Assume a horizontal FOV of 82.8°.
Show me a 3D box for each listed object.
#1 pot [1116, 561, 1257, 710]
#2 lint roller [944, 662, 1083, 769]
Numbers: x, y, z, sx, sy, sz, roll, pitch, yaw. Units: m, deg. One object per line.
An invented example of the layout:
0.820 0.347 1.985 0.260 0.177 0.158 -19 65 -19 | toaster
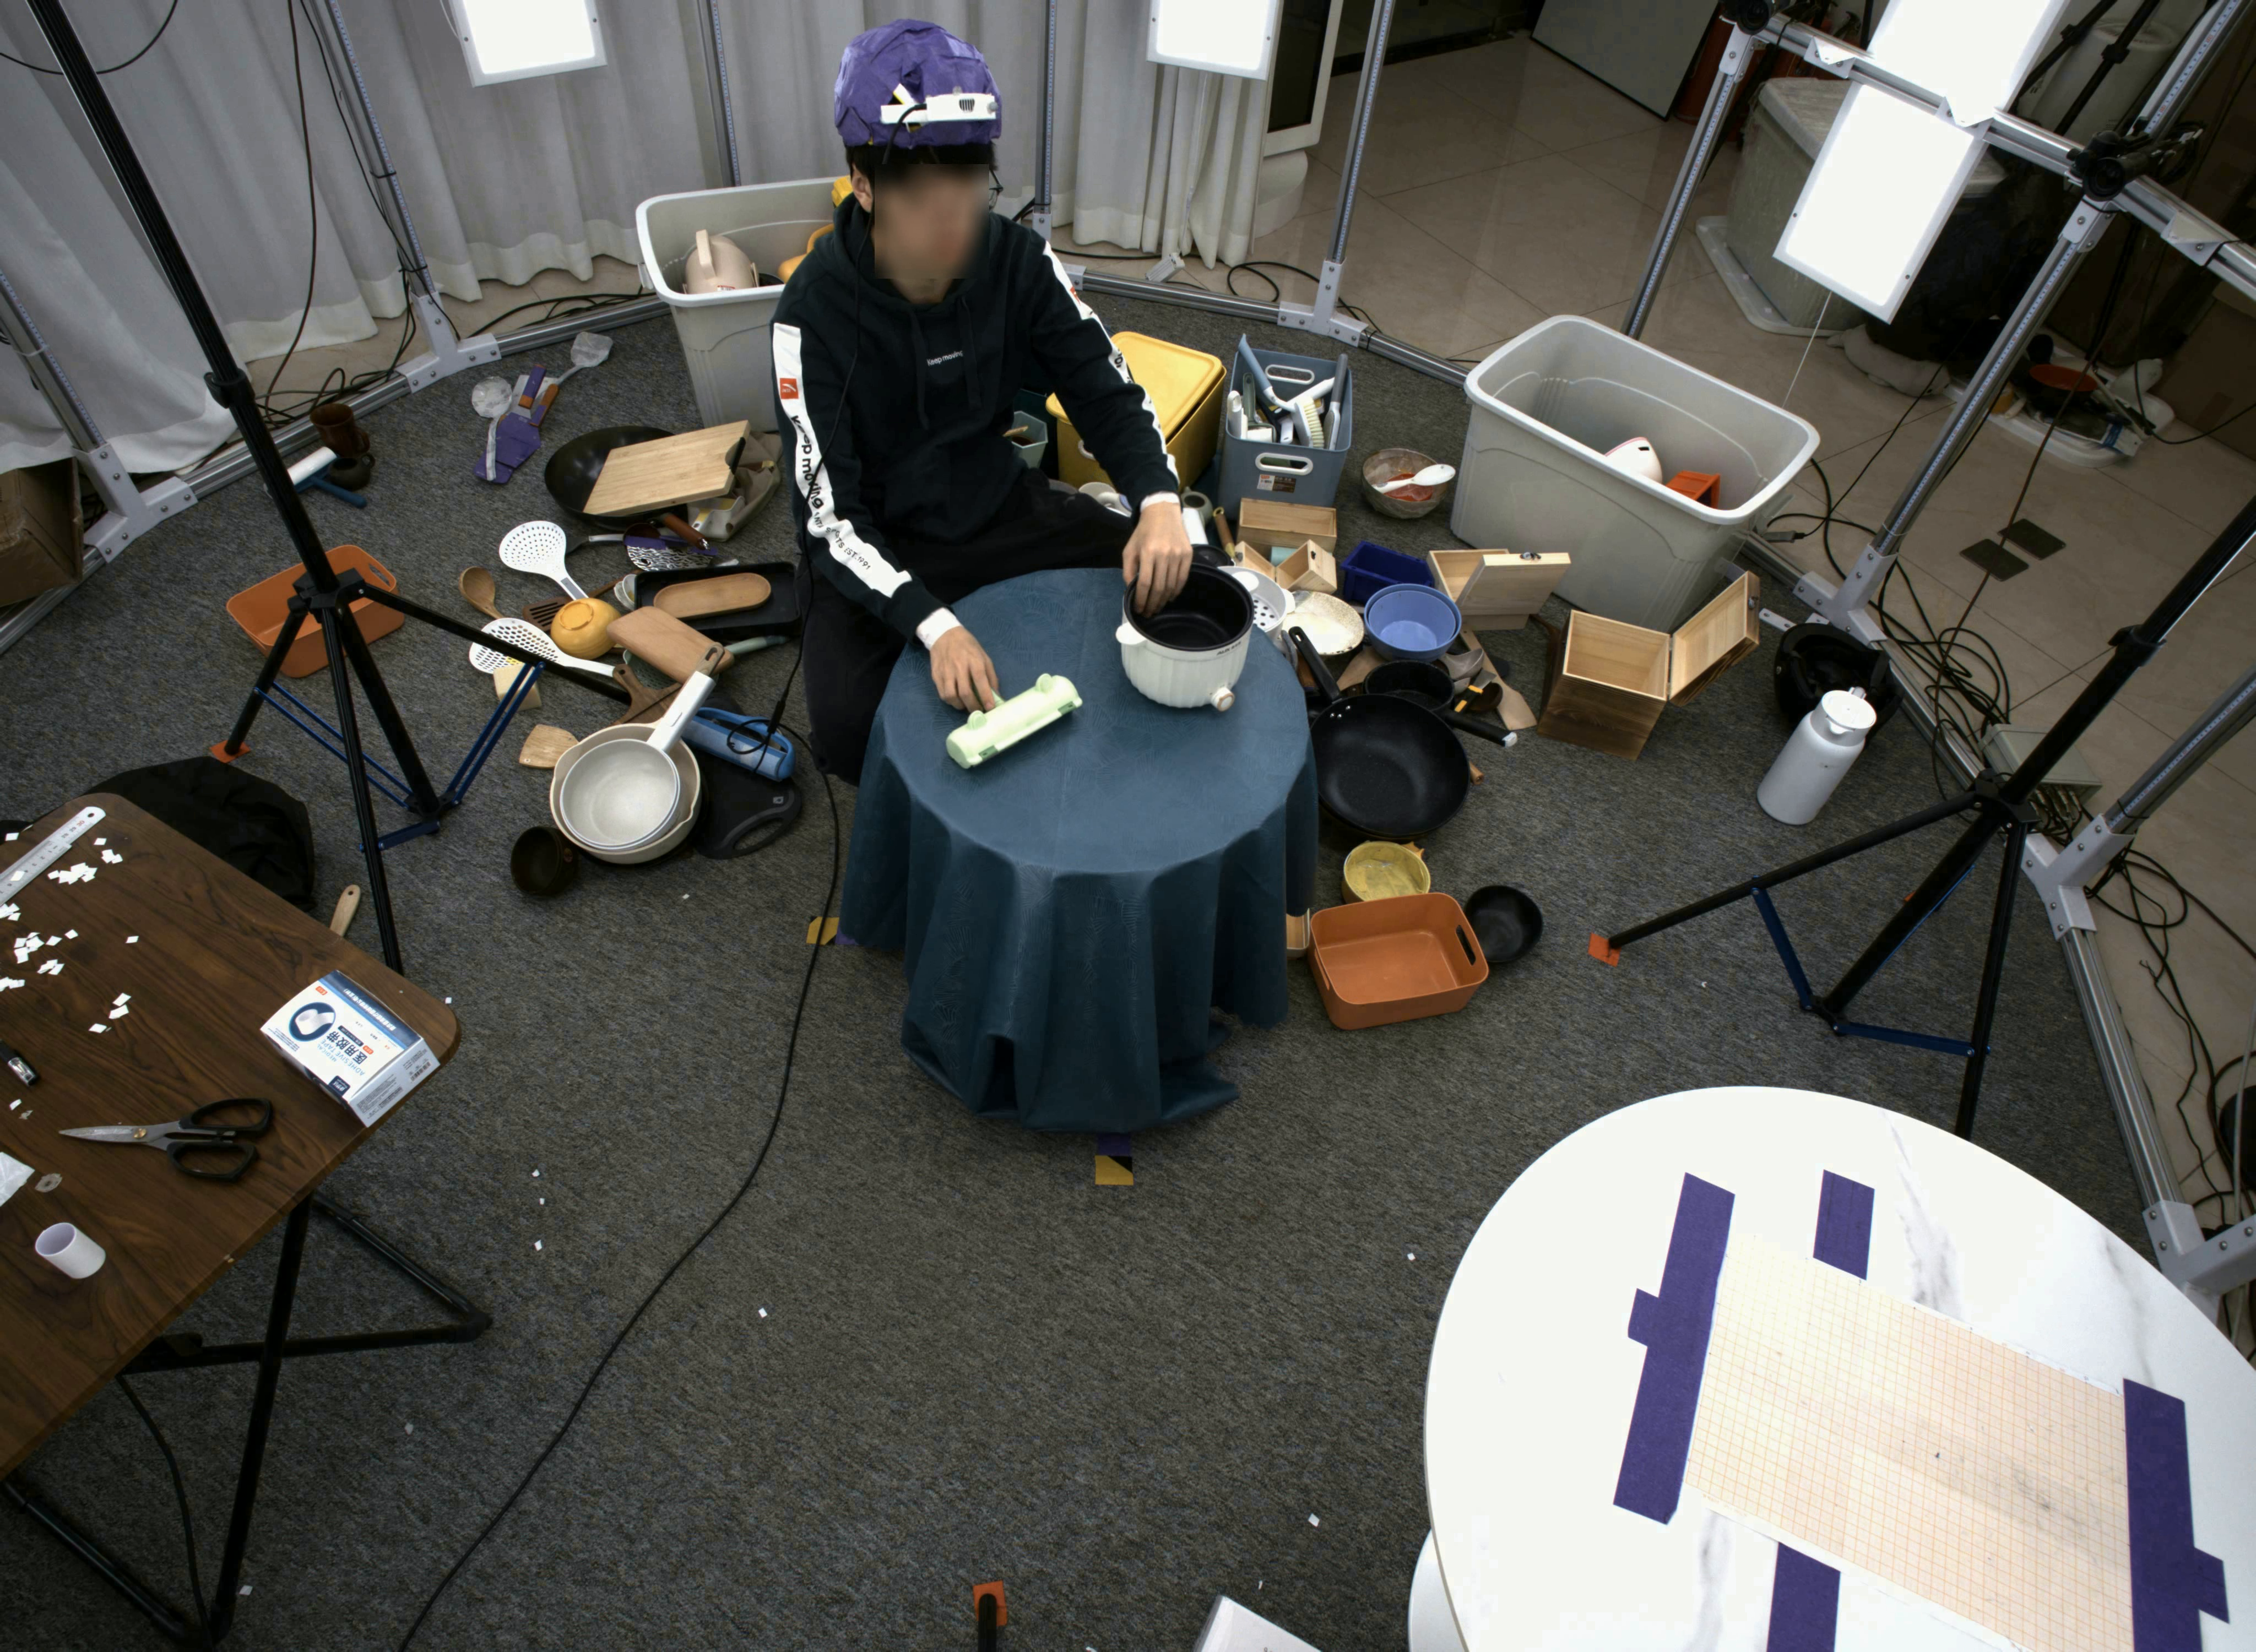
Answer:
0.084 -0.260 1.810 0.242 0.139 0.194 -29 54 -24 | pot
-0.191 -0.184 1.766 0.200 0.080 0.186 -32 64 -27 | lint roller
